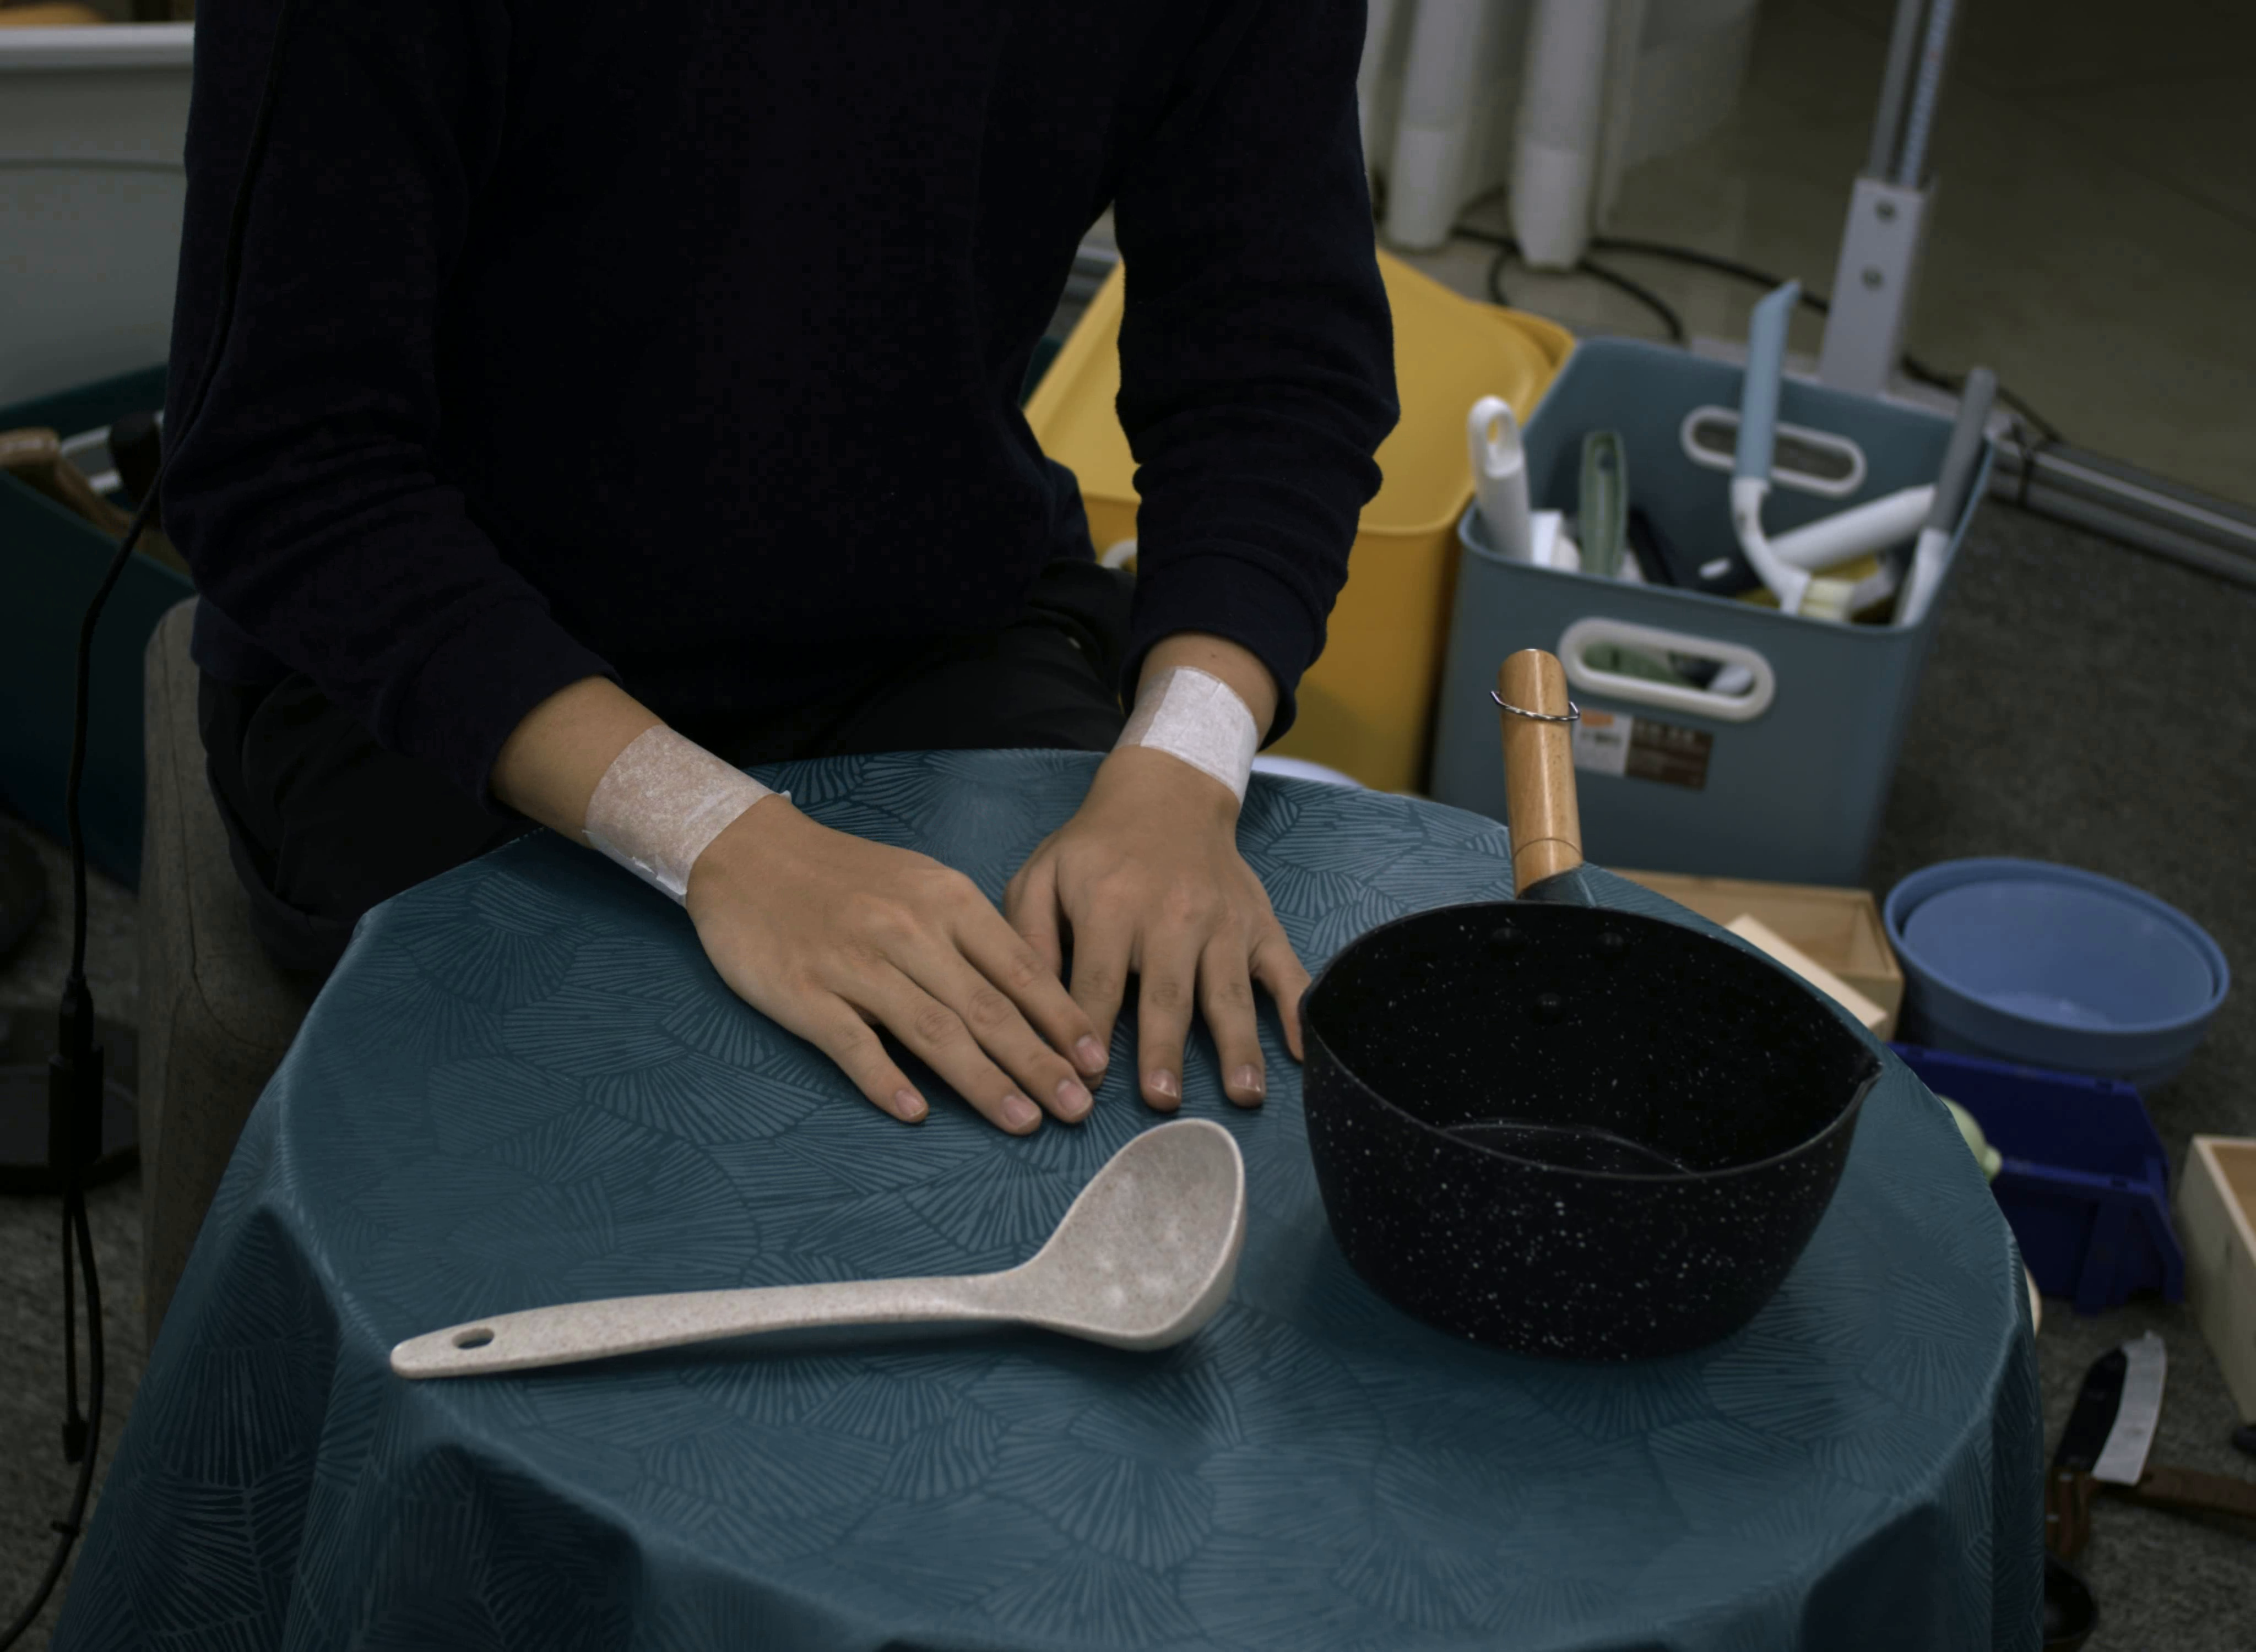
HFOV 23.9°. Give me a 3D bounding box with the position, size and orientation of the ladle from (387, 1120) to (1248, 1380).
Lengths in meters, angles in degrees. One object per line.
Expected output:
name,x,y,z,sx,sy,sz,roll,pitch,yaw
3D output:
ladle,-0.096,0.136,1.683,0.273,0.069,0.090,-2,34,-16

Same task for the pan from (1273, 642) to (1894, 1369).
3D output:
pan,0.146,0.058,1.845,0.207,0.108,0.345,4,28,-4
